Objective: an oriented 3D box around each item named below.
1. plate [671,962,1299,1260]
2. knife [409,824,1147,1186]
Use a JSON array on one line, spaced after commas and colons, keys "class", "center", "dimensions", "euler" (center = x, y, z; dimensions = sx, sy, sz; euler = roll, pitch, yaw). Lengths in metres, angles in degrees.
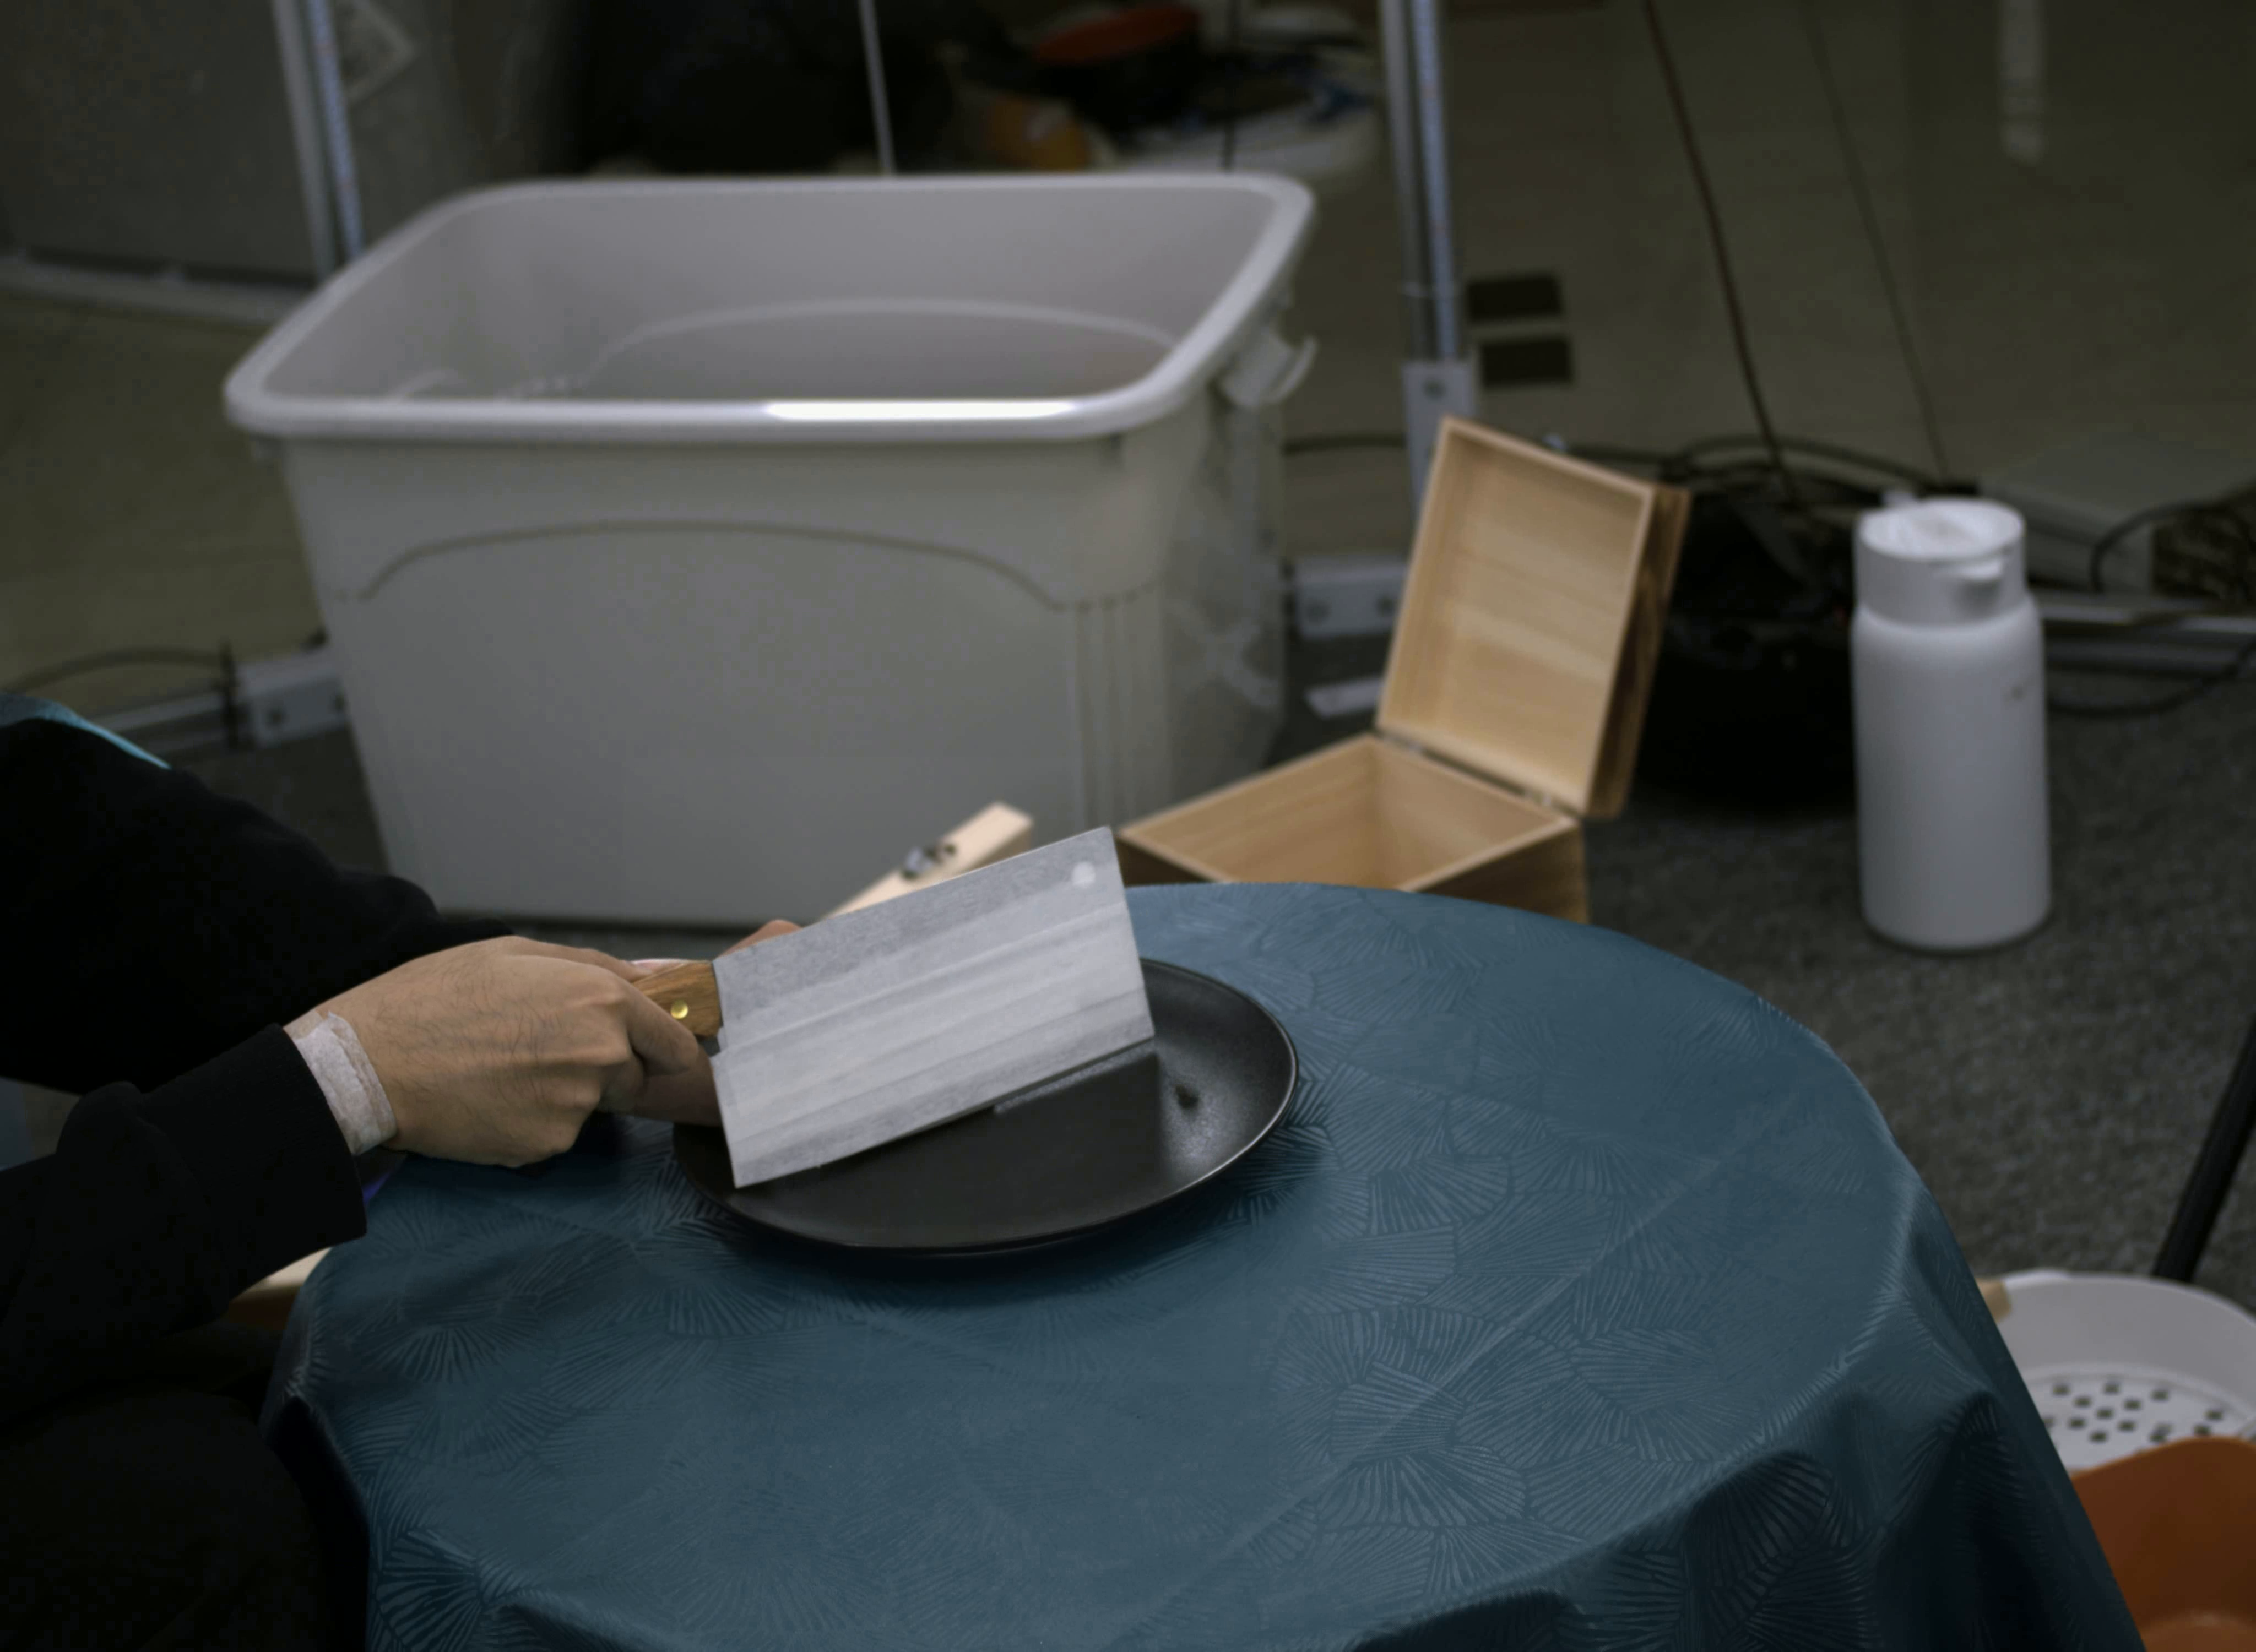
[{"class": "plate", "center": [-0.054, 0.113, 2.188], "dimensions": [0.244, 0.024, 0.241], "euler": [-5, 25, 3]}, {"class": "knife", "center": [-0.126, 0.083, 2.151], "dimensions": [0.304, 0.094, 0.021], "euler": [-19, 17, -26]}]
